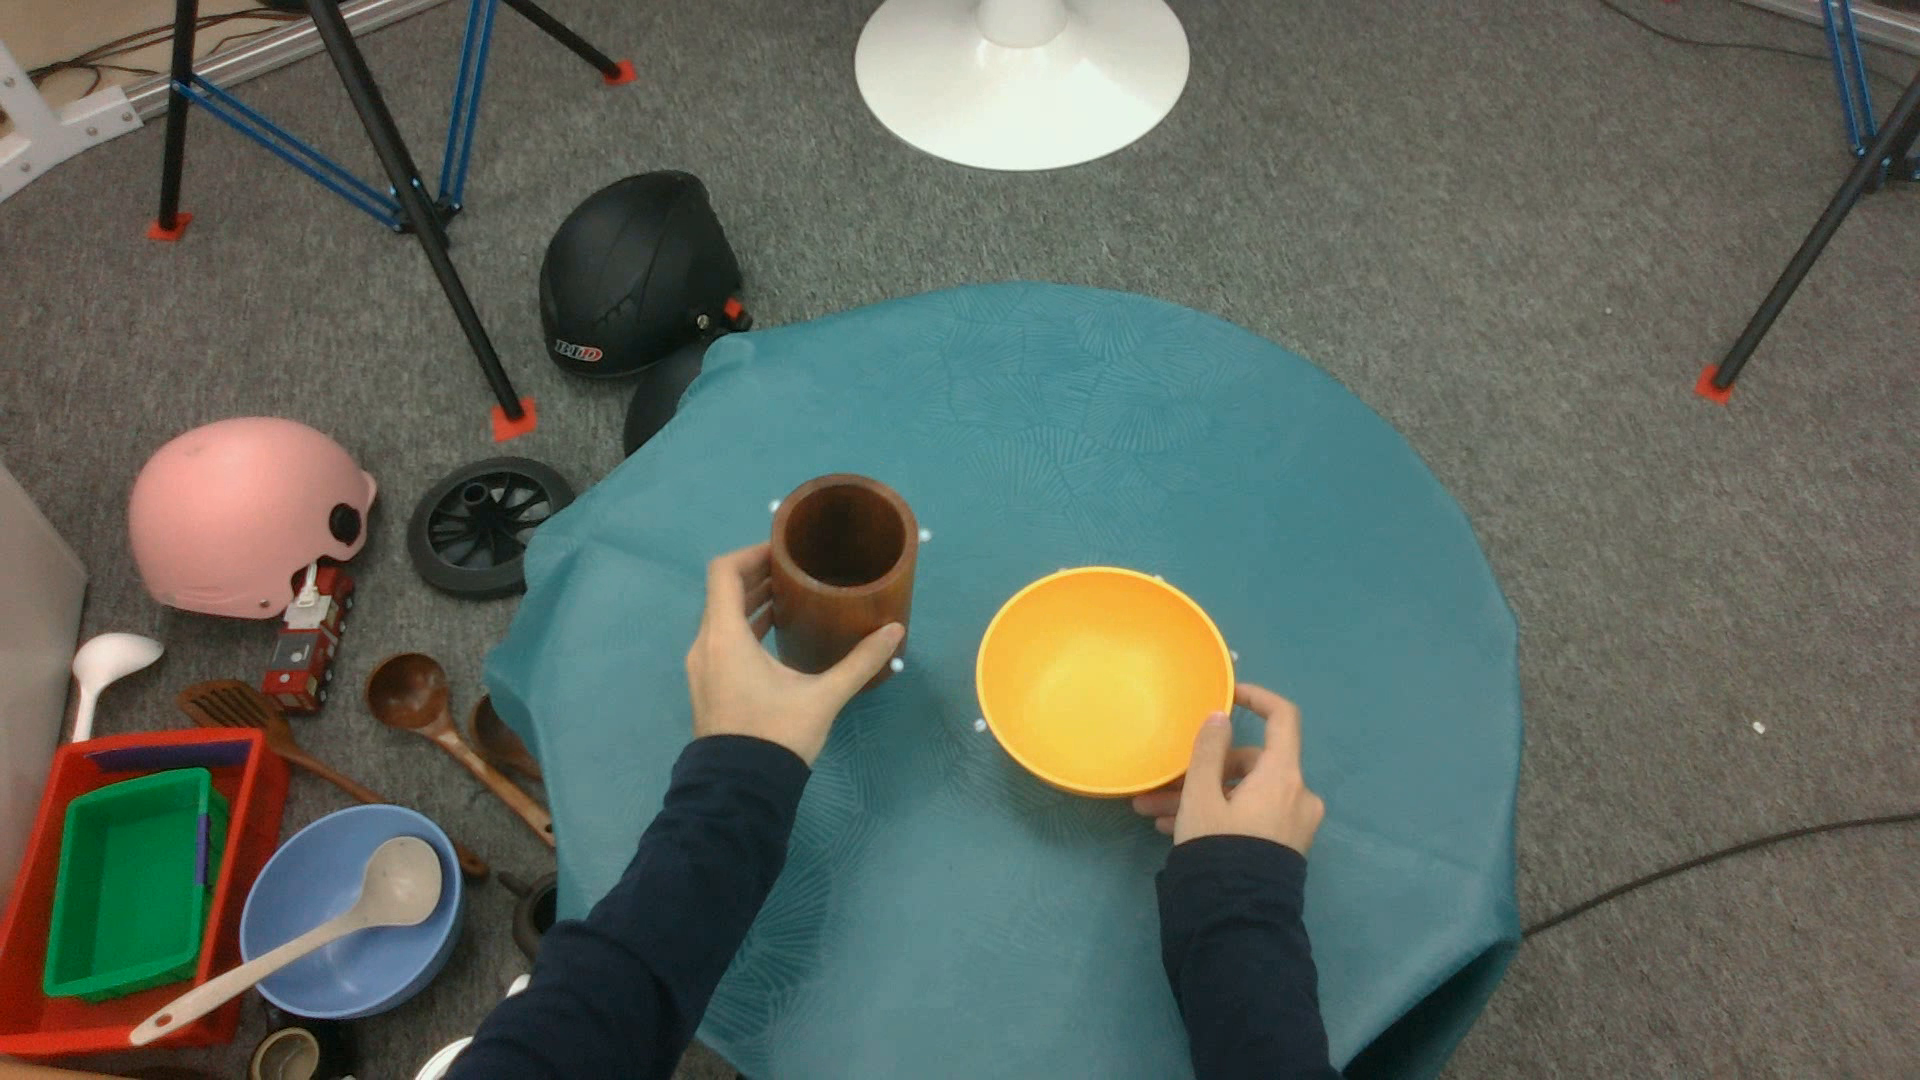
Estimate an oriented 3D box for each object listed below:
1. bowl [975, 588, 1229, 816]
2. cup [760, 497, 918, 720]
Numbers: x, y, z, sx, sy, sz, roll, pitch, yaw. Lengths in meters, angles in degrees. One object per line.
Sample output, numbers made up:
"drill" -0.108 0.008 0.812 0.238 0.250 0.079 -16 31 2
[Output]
"bowl" 0.082 0.103 0.808 0.145 0.060 0.146 -2 56 2
"cup" -0.067 0.042 0.788 0.088 0.118 0.088 1 56 -2
